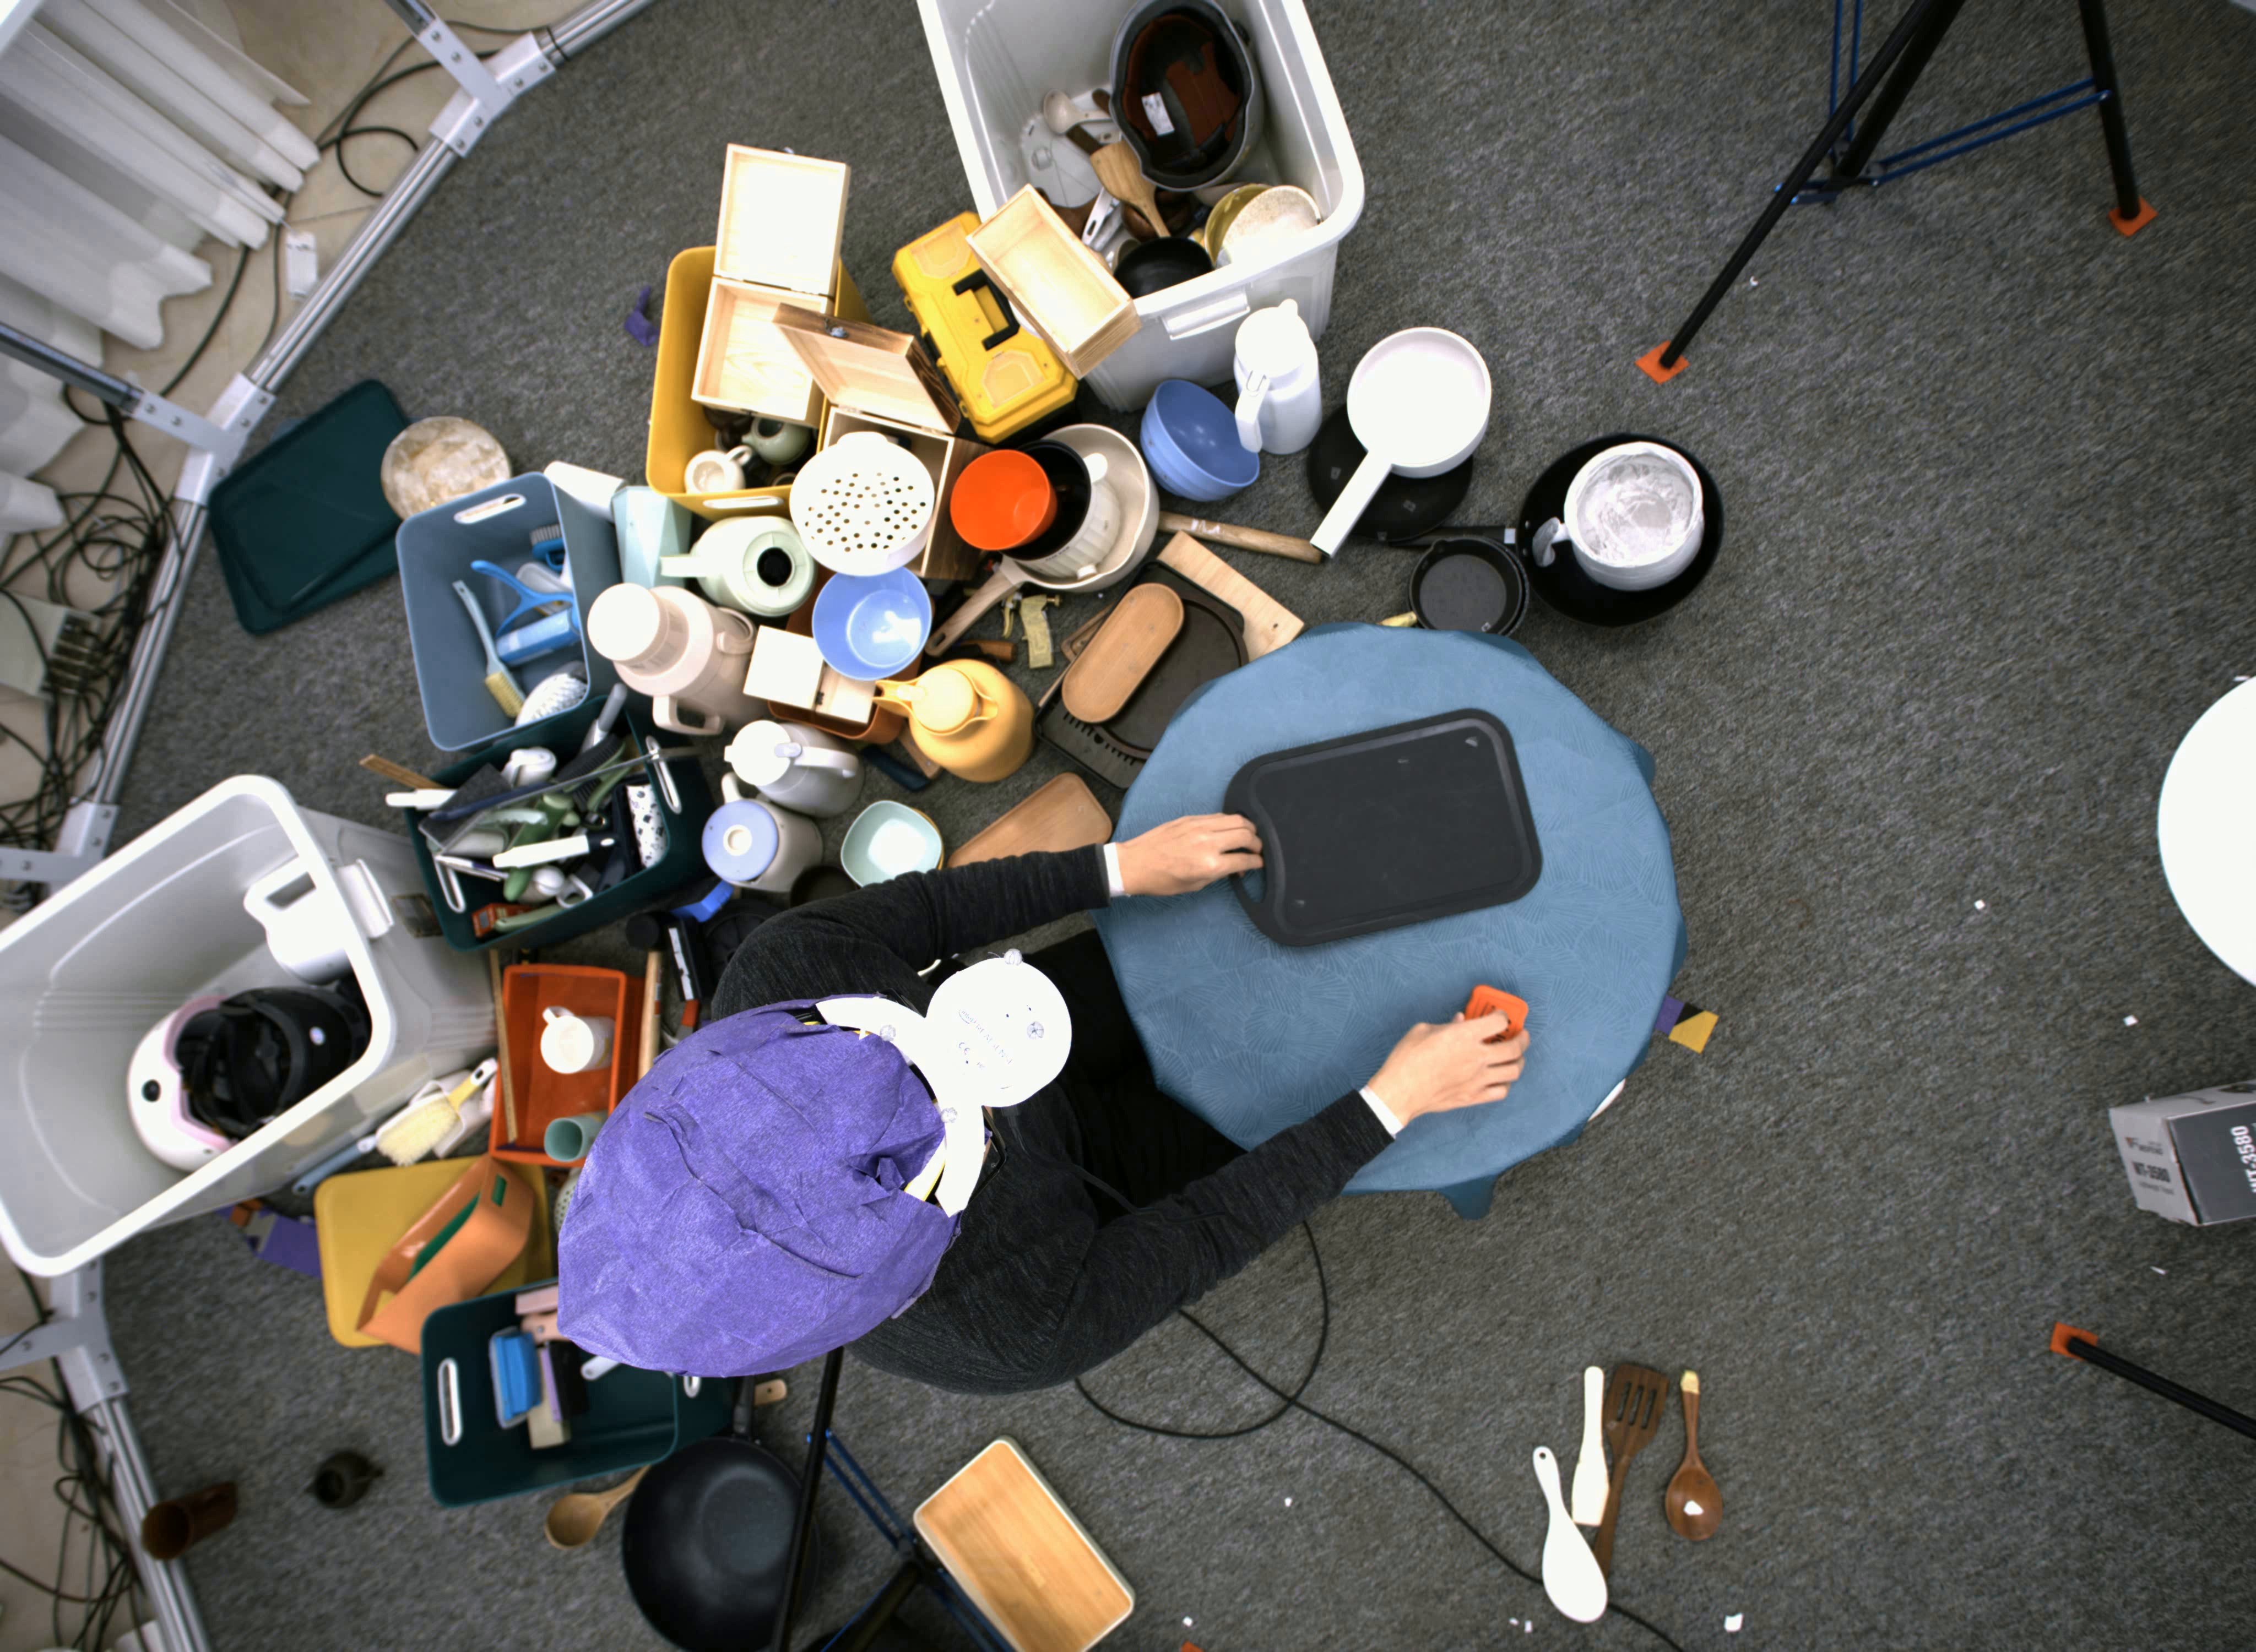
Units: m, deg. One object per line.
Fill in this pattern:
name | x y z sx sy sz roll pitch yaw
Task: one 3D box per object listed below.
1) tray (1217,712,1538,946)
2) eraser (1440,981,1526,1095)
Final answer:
tray | 0.257 0.004 1.450 0.326 0.010 0.209 -12 84 5
eraser | 0.362 0.214 1.407 0.059 0.022 0.109 18 99 4
